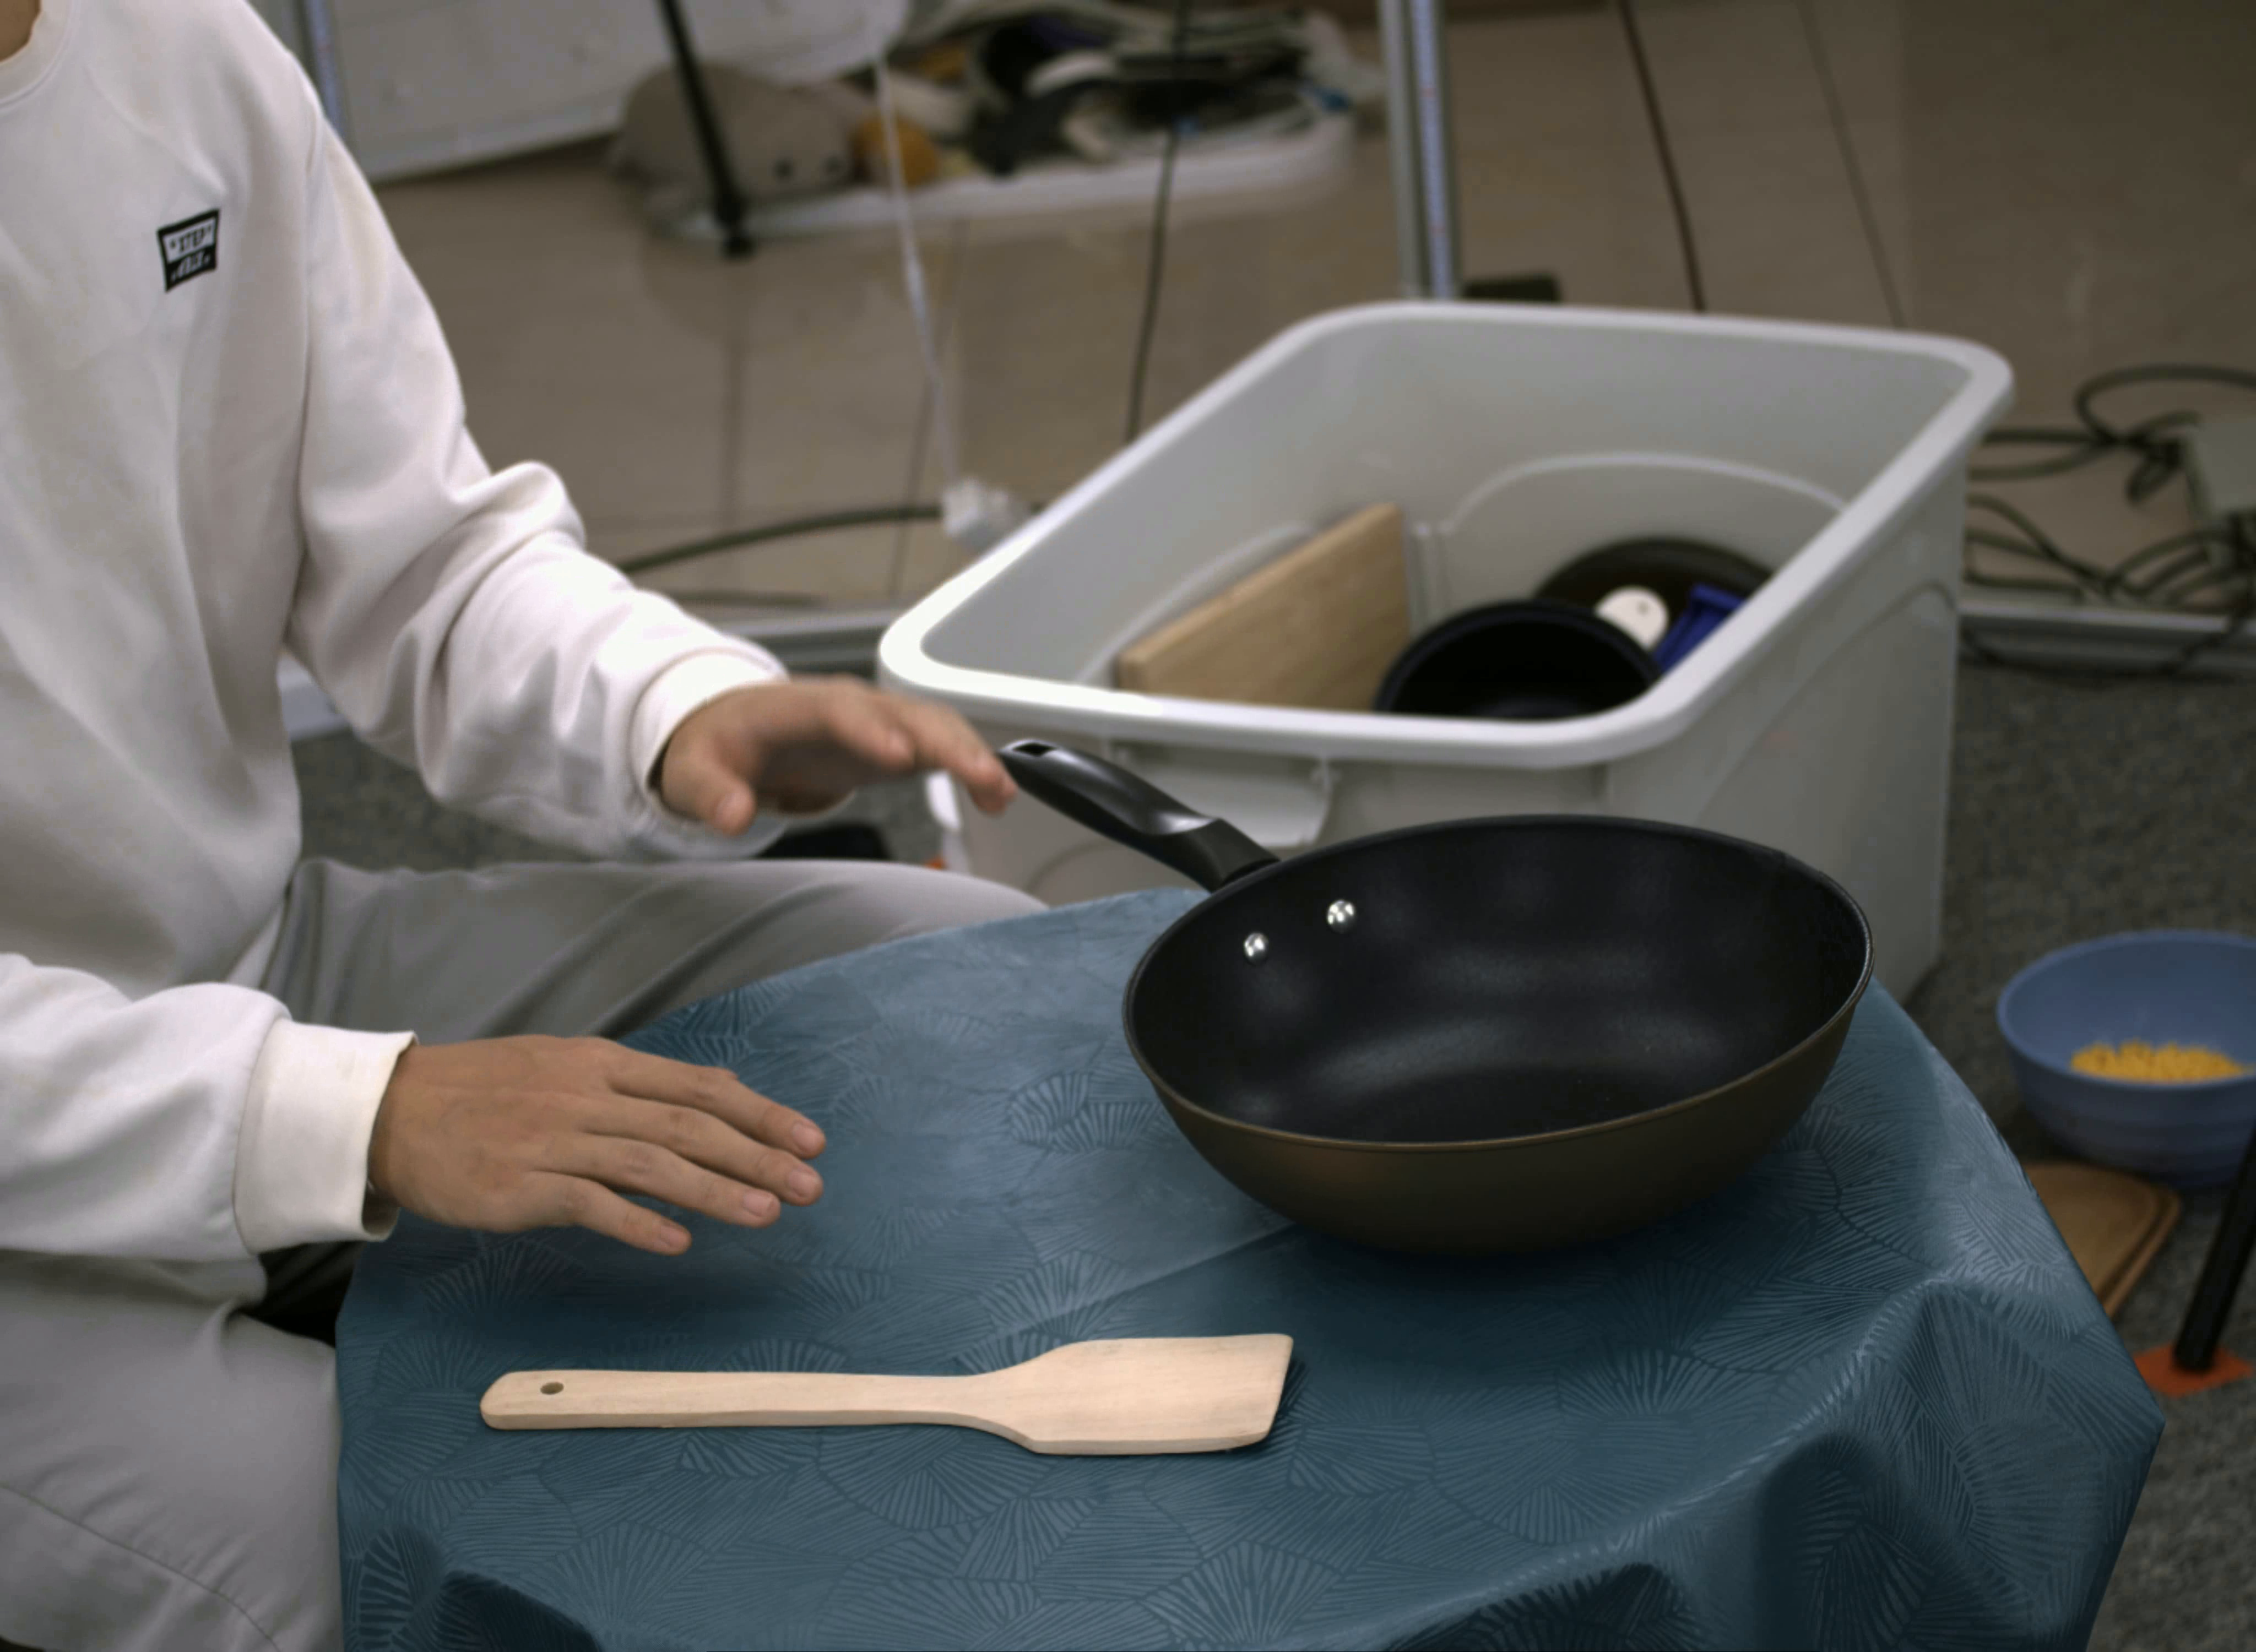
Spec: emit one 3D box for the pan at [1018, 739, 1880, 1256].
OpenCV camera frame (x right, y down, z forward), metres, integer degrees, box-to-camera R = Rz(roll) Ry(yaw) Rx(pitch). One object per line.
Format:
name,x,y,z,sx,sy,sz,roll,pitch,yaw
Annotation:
pan,0.089,0.063,2.189,0.286,0.088,0.459,-21,27,-29

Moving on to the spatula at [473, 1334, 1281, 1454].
spatula,-0.092,0.203,2.020,0.292,0.011,0.071,-1,26,11
